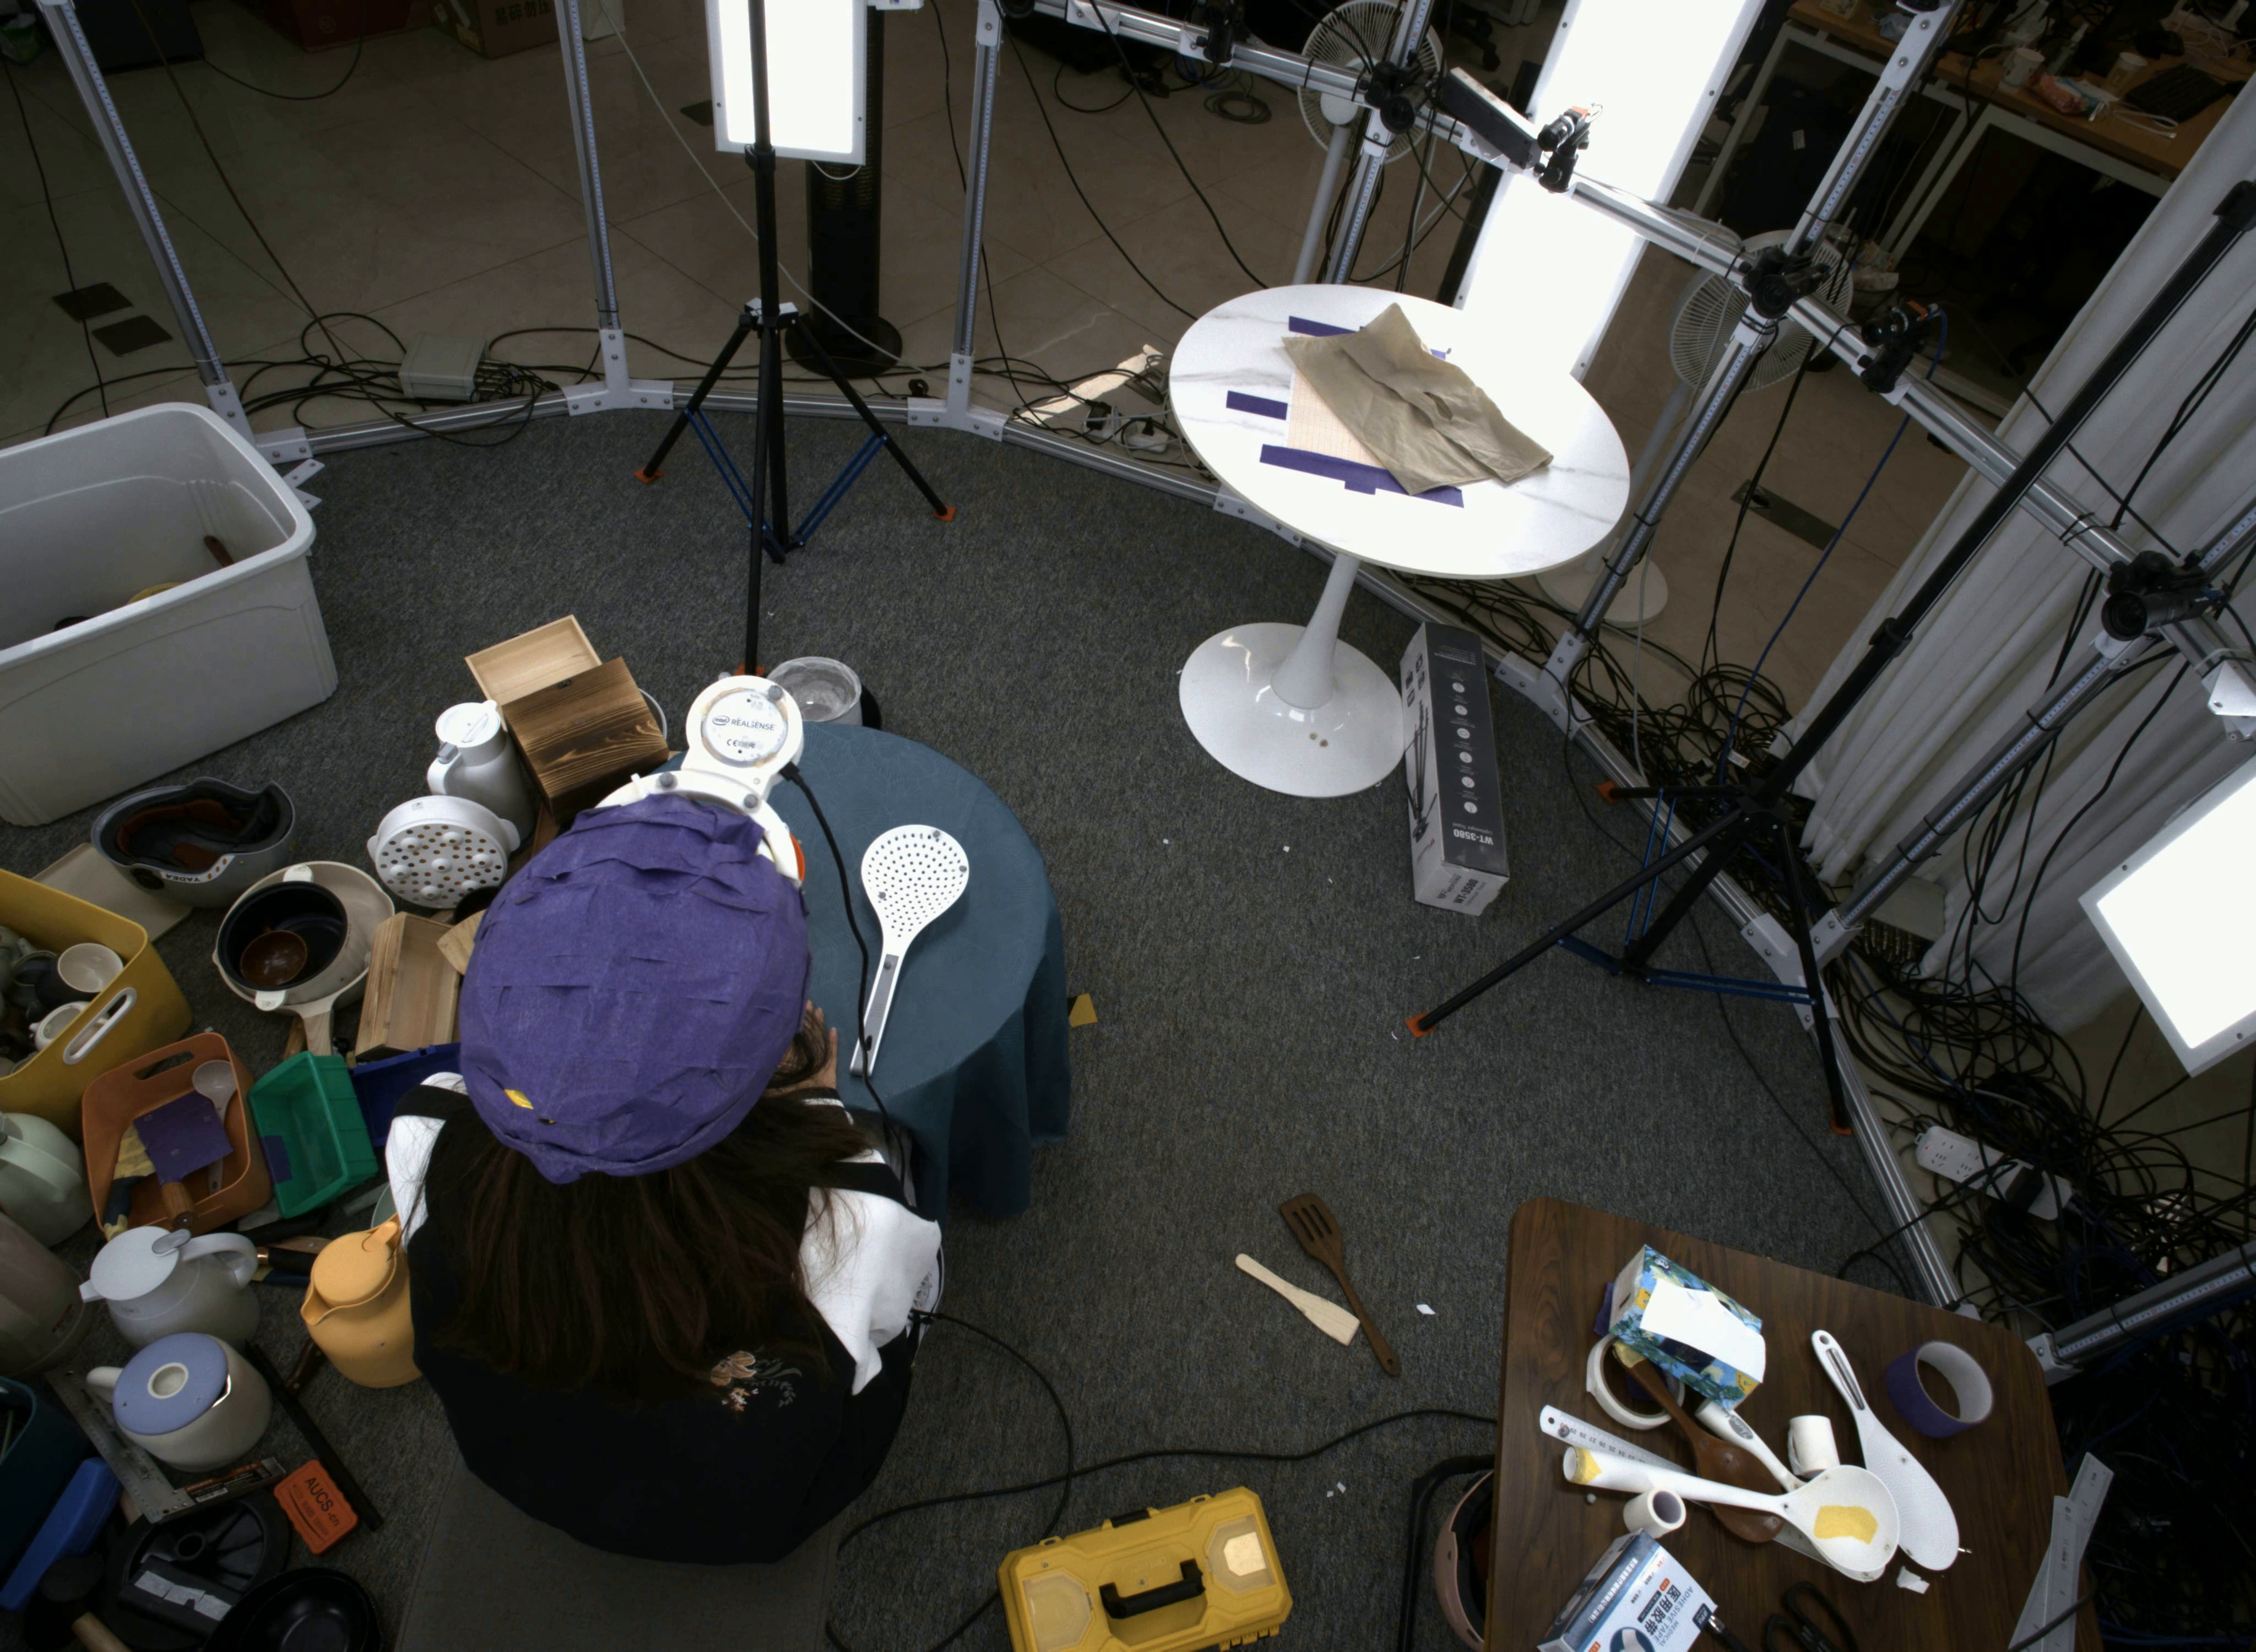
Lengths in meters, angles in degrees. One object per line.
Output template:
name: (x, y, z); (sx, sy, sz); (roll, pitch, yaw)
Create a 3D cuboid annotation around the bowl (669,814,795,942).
bowl: (-0.483, 0.074, 1.583); (0.148, 0.106, 0.145); (9, 51, -10)

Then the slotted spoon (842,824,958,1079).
slotted spoon: (-0.299, 0.147, 1.613); (0.135, 0.047, 0.344); (11, 53, -4)
